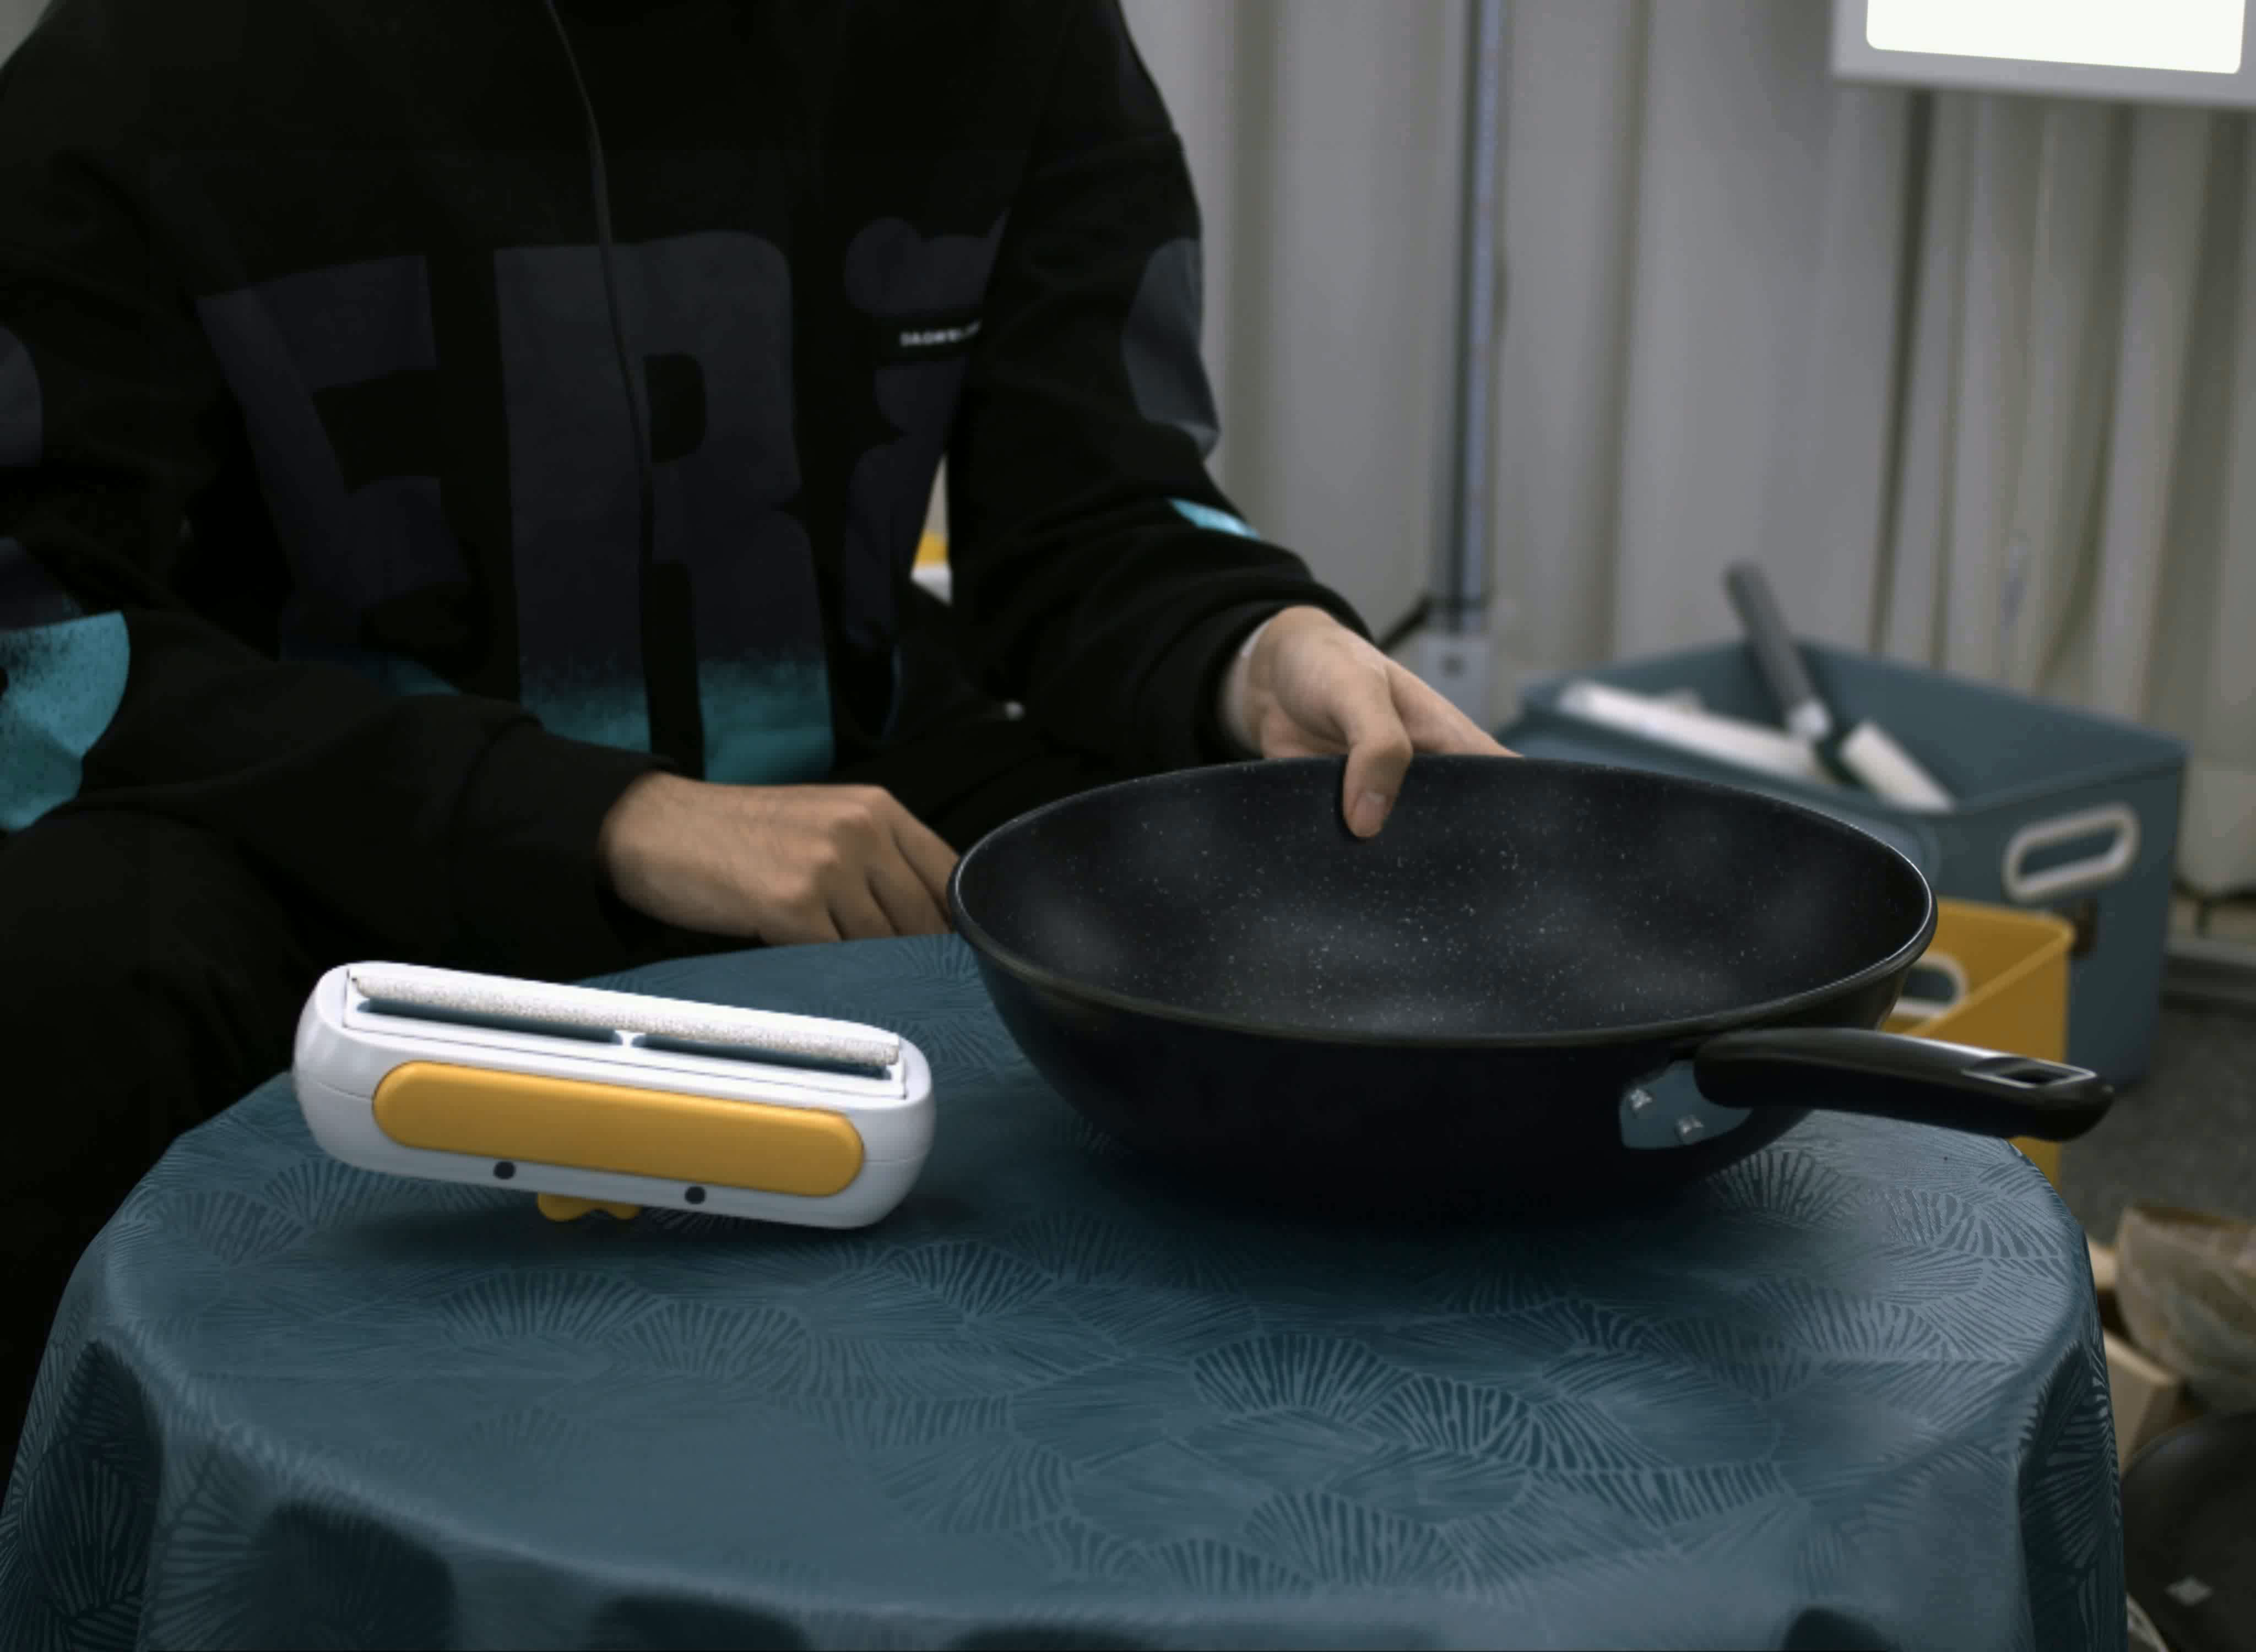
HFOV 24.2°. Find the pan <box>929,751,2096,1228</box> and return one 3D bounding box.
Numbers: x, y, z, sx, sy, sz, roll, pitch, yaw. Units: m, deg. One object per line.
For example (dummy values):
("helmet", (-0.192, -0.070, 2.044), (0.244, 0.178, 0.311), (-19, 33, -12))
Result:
("pan", (0.133, 0.066, 1.588), (0.311, 0.112, 0.471), (-10, 18, -28))

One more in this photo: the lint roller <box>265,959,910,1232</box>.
("lint roller", (-0.165, 0.073, 1.631), (0.192, 0.075, 0.191), (4, 14, -5))
